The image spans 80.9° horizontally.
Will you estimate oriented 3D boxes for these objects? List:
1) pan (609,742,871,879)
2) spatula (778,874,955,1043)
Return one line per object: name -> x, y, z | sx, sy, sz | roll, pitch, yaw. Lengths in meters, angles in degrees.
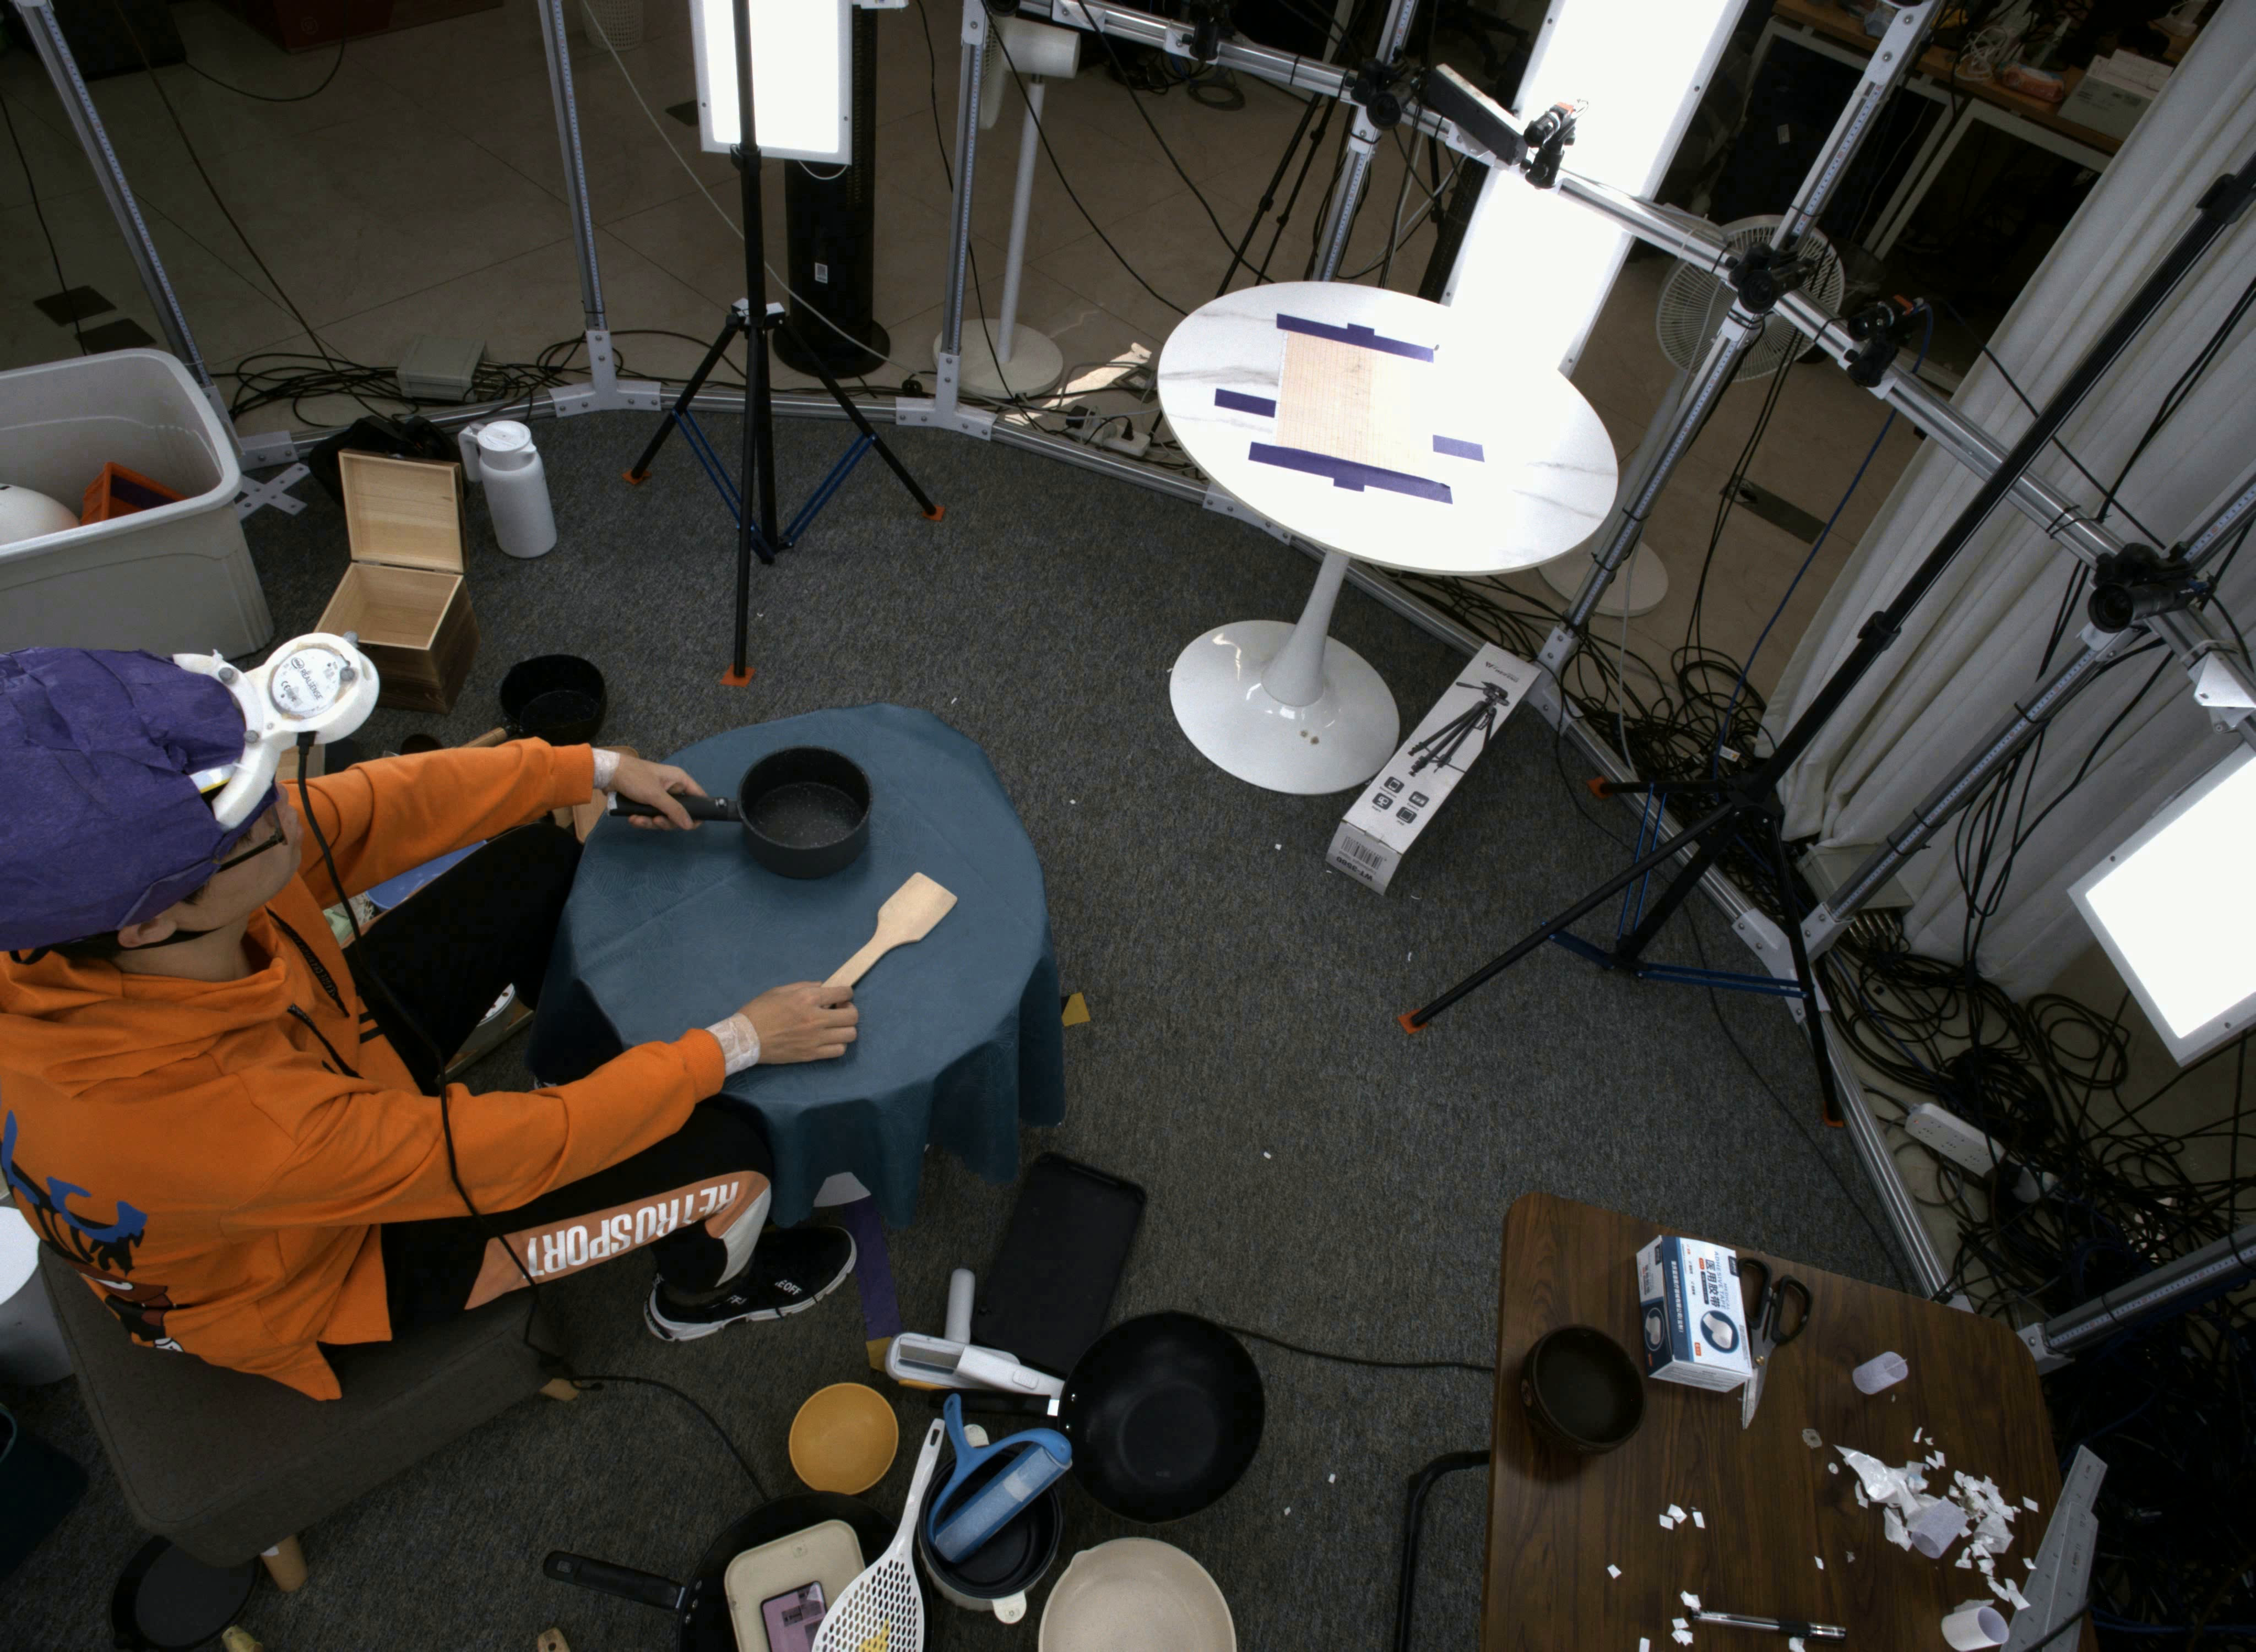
pan -> -0.496, -0.019, 1.654 | 0.330, 0.088, 0.168 | 0, 53, -17
spatula -> -0.326, 0.163, 1.607 | 0.071, 0.011, 0.292 | 35, 50, 9
